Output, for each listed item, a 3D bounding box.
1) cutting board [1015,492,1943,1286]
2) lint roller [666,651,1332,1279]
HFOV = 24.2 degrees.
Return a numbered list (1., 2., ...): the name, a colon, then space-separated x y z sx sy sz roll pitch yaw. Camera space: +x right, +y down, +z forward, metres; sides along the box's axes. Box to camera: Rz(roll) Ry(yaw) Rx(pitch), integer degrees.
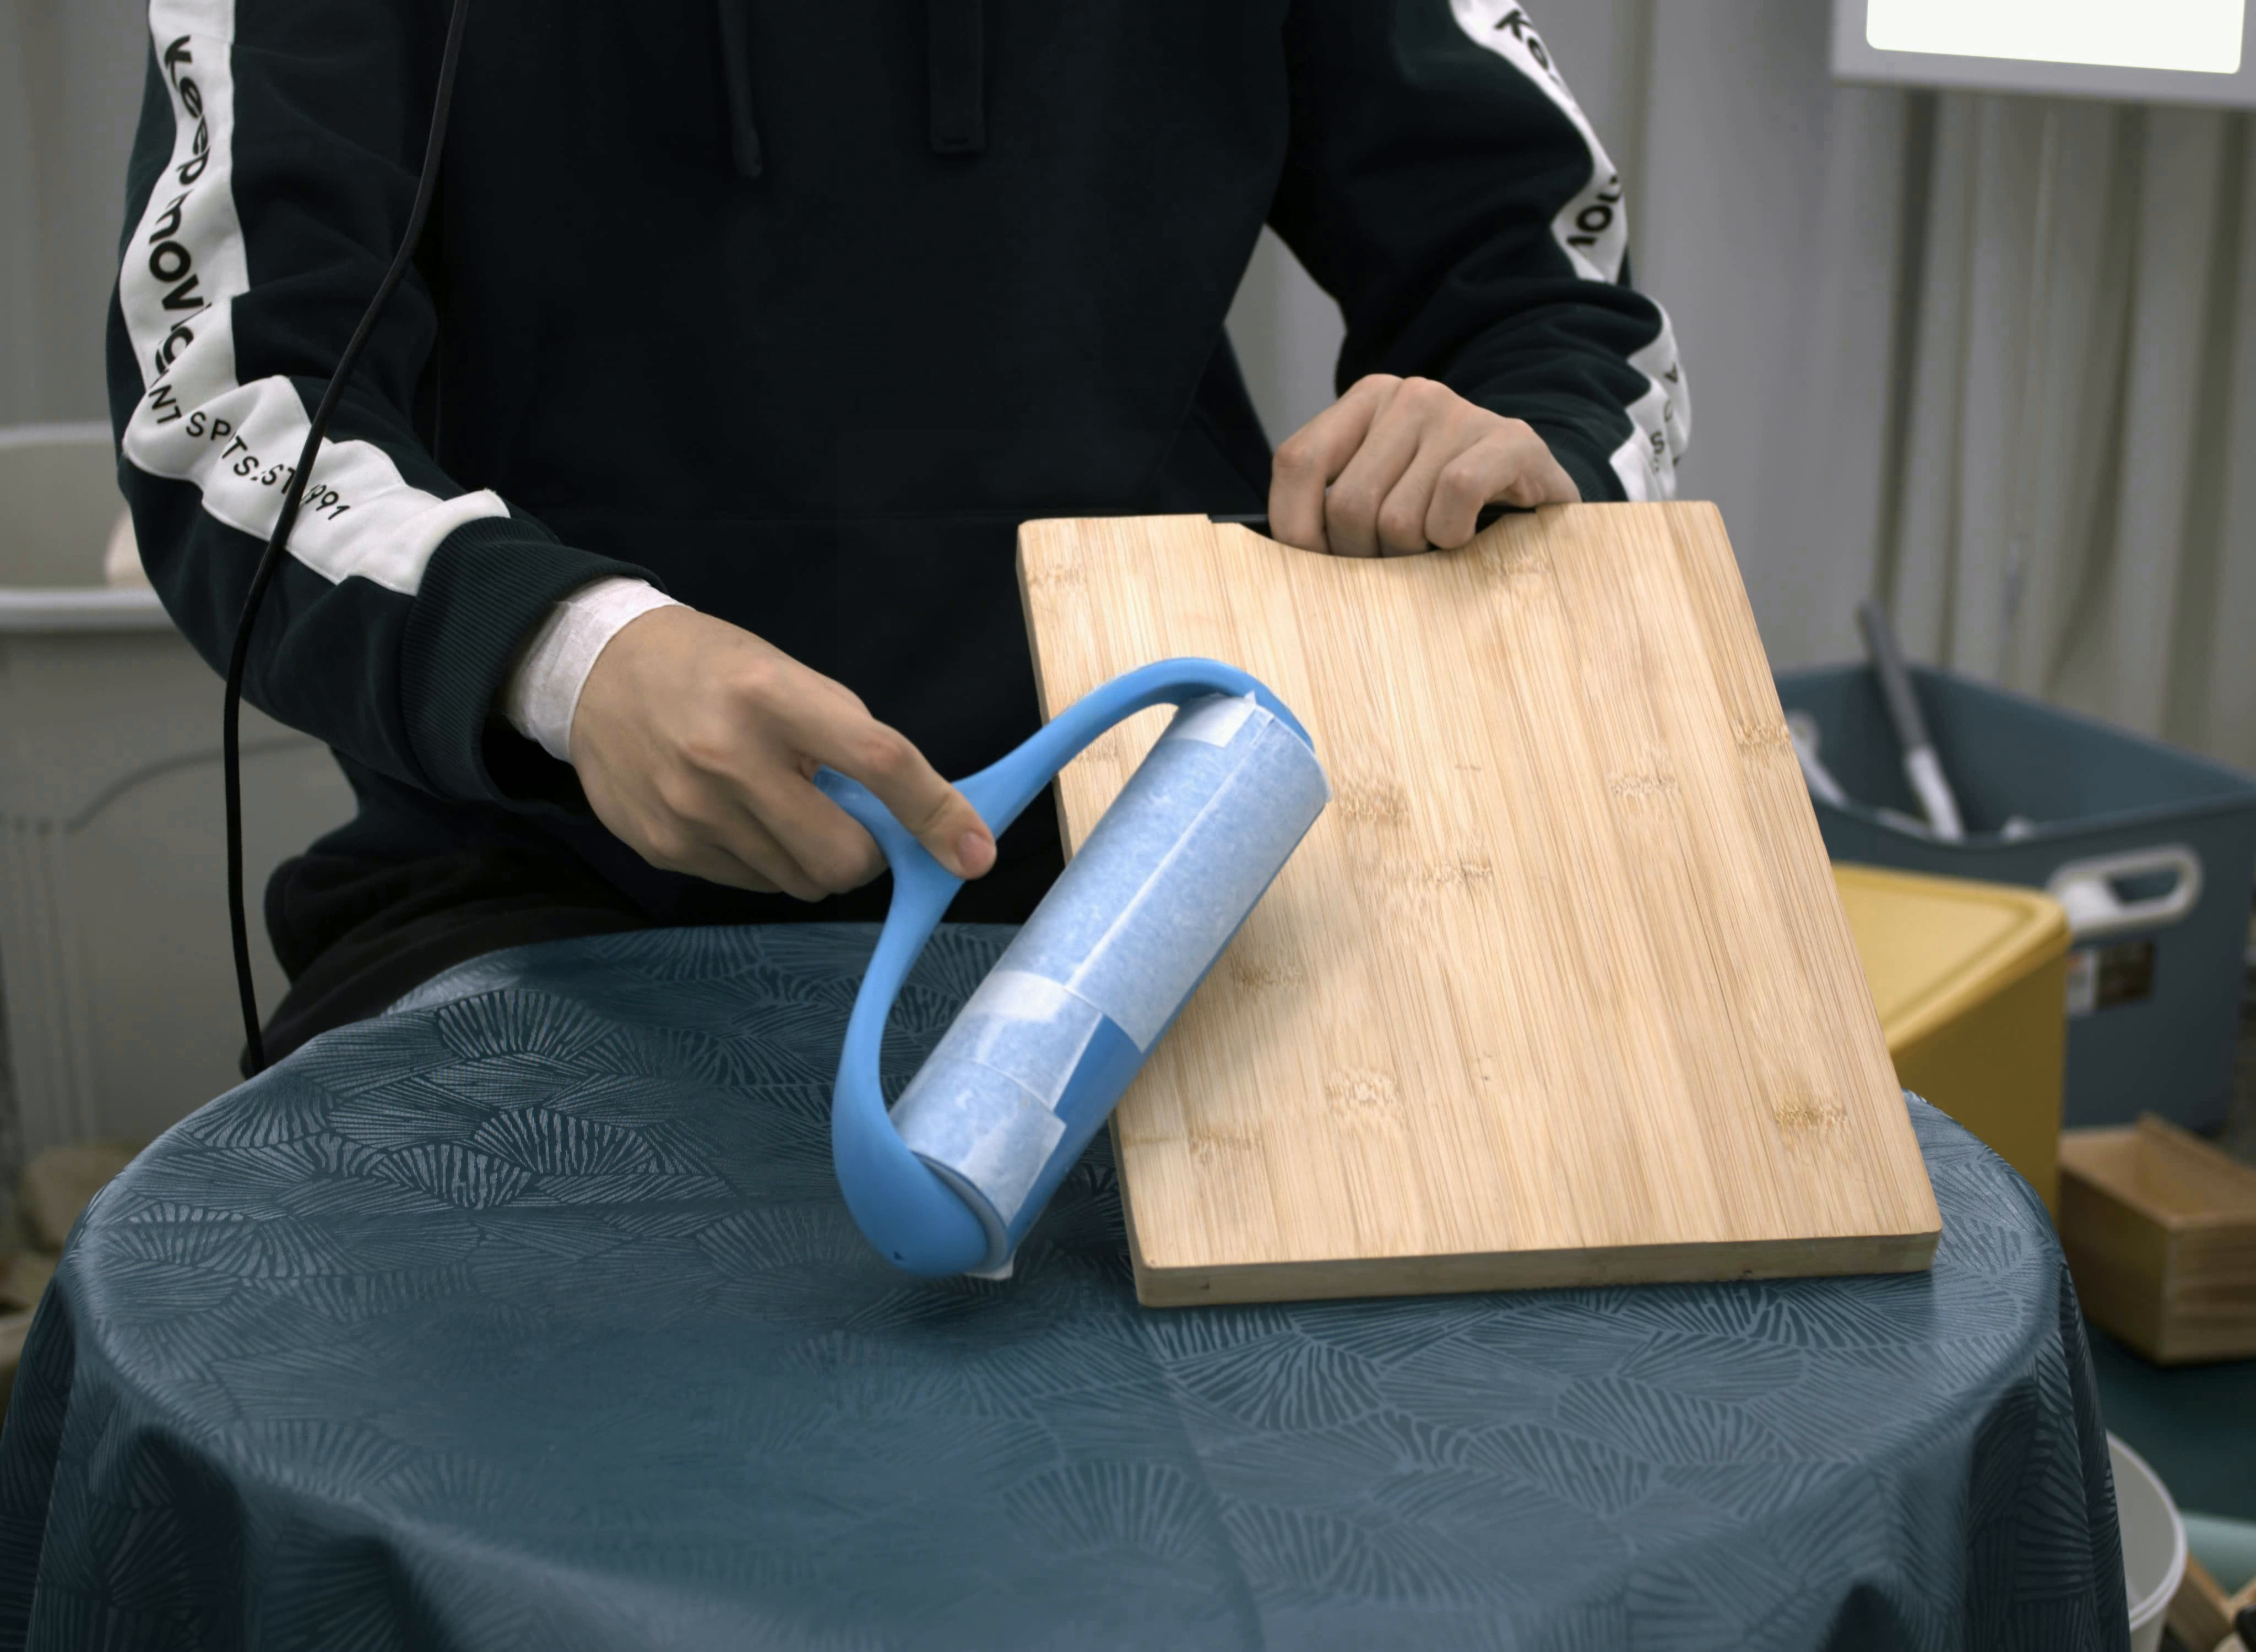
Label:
1. cutting board: 0.101 0.012 1.659 0.250 0.024 0.345 -2 43 -9
2. lint roller: -0.059 0.018 1.565 0.179 0.068 0.228 26 58 10
